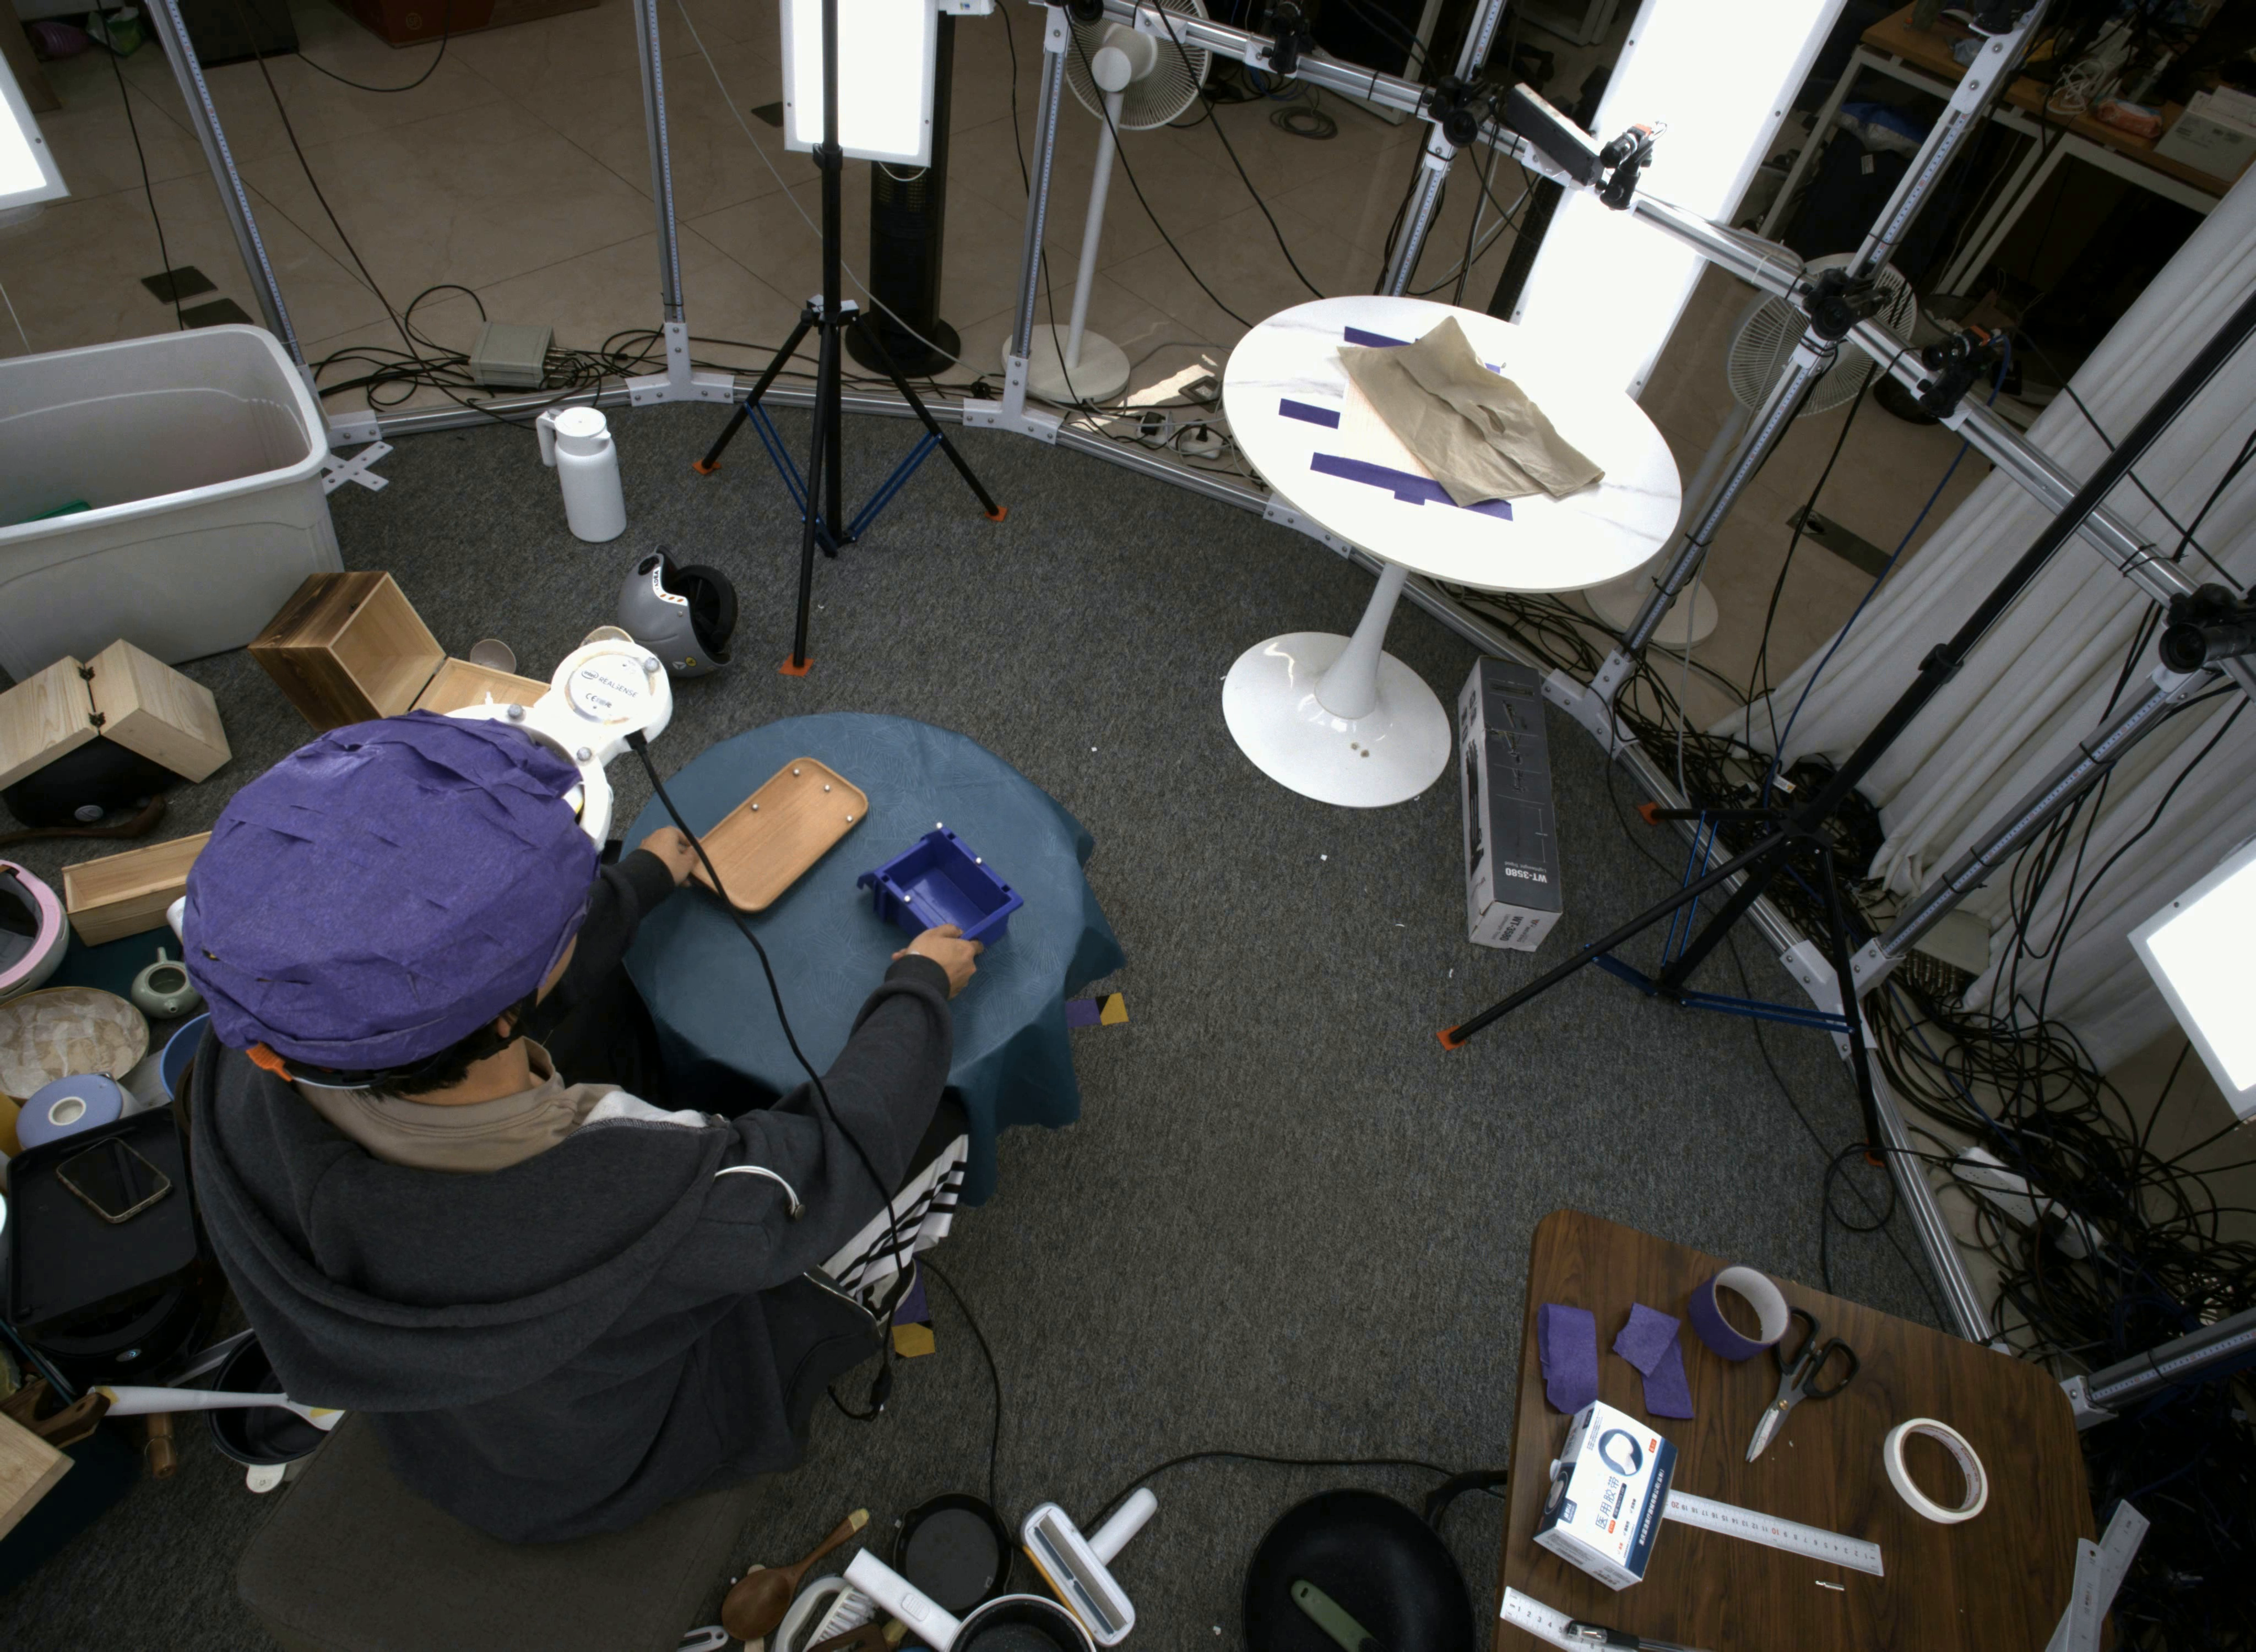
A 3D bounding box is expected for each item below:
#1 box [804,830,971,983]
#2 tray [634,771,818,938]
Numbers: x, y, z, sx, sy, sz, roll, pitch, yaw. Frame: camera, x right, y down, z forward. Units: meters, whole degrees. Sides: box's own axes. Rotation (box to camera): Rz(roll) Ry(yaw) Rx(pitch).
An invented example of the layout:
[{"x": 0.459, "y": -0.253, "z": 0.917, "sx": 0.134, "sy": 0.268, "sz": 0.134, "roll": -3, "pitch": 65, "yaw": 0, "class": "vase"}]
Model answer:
[{"x": -0.306, "y": 0.096, "z": 1.635, "sx": 0.176, "sy": 0.083, "sz": 0.125, "roll": 42, "pitch": 56, "yaw": 14, "class": "box"}, {"x": -0.513, "y": 0.032, "z": 1.656, "sx": 0.129, "sy": 0.023, "sz": 0.249, "roll": 33, "pitch": 51, "yaw": 4, "class": "tray"}]
